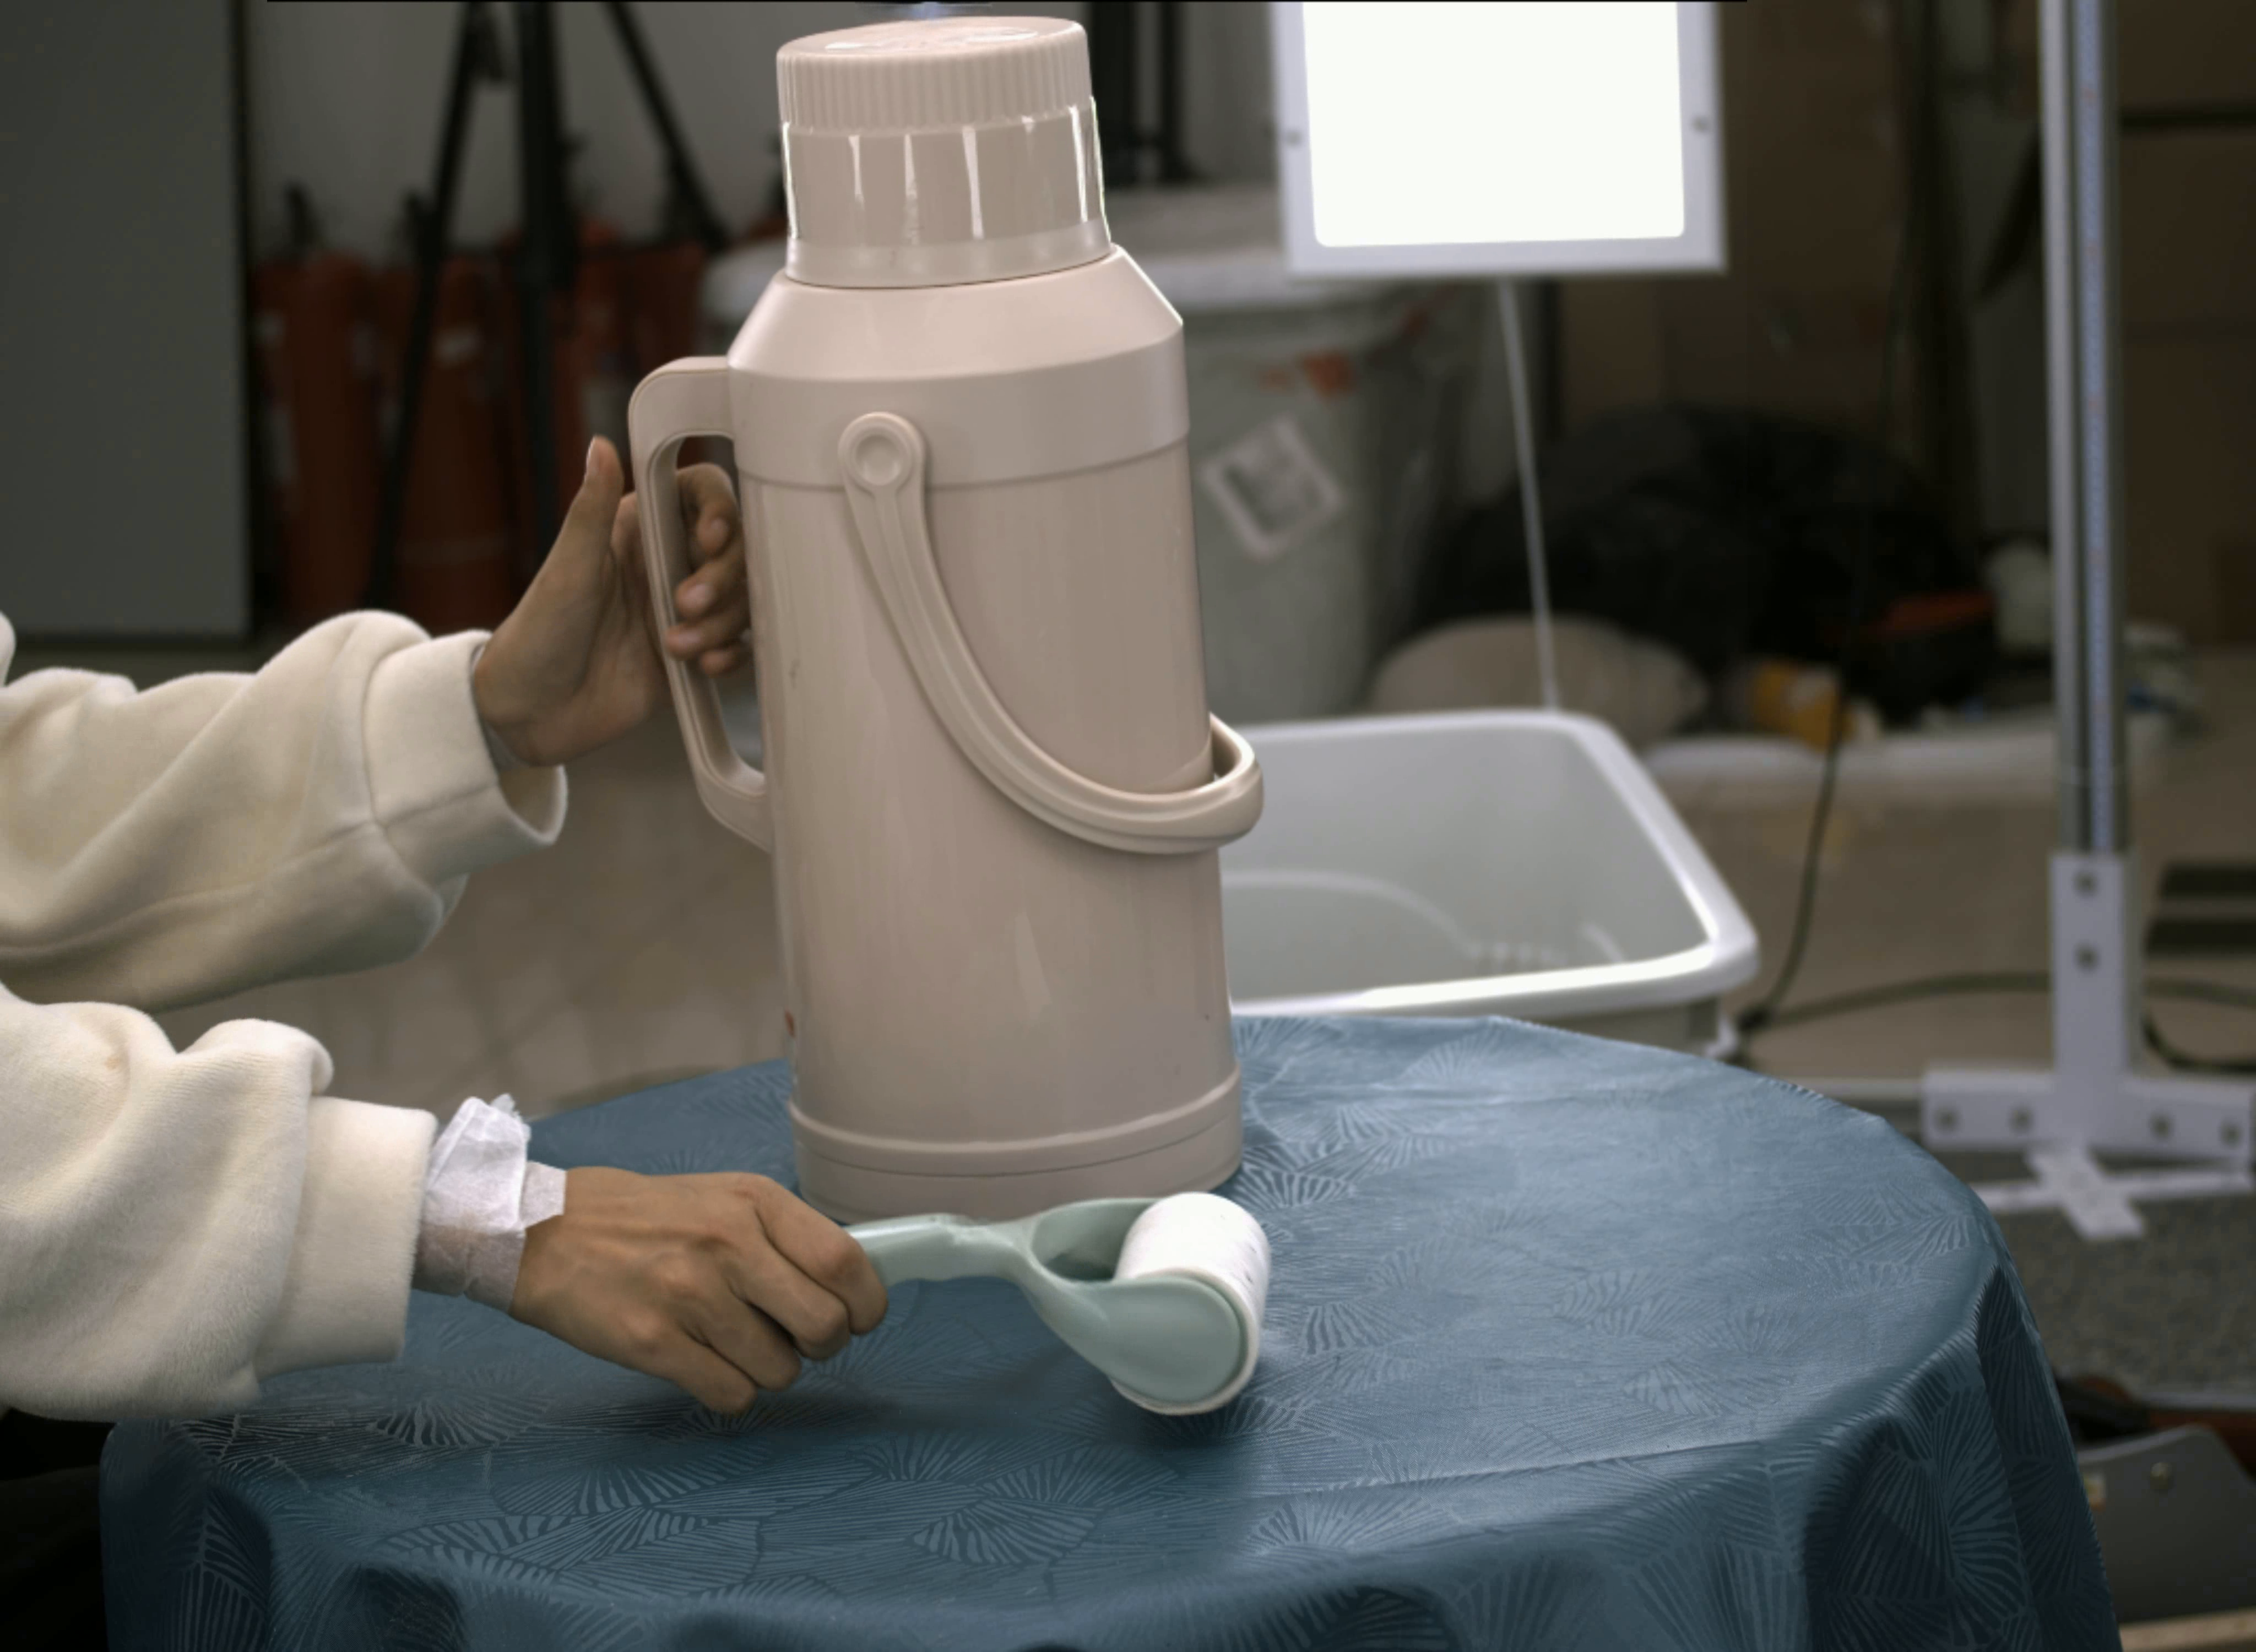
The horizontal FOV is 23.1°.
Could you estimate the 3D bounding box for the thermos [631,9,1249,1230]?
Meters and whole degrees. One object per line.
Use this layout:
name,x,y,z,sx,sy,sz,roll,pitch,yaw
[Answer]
thermos,-0.064,-0.071,1.893,0.209,0.408,0.172,0,15,18

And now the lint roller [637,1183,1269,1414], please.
lint roller,-0.053,0.143,1.706,0.198,0.049,0.116,2,12,6
